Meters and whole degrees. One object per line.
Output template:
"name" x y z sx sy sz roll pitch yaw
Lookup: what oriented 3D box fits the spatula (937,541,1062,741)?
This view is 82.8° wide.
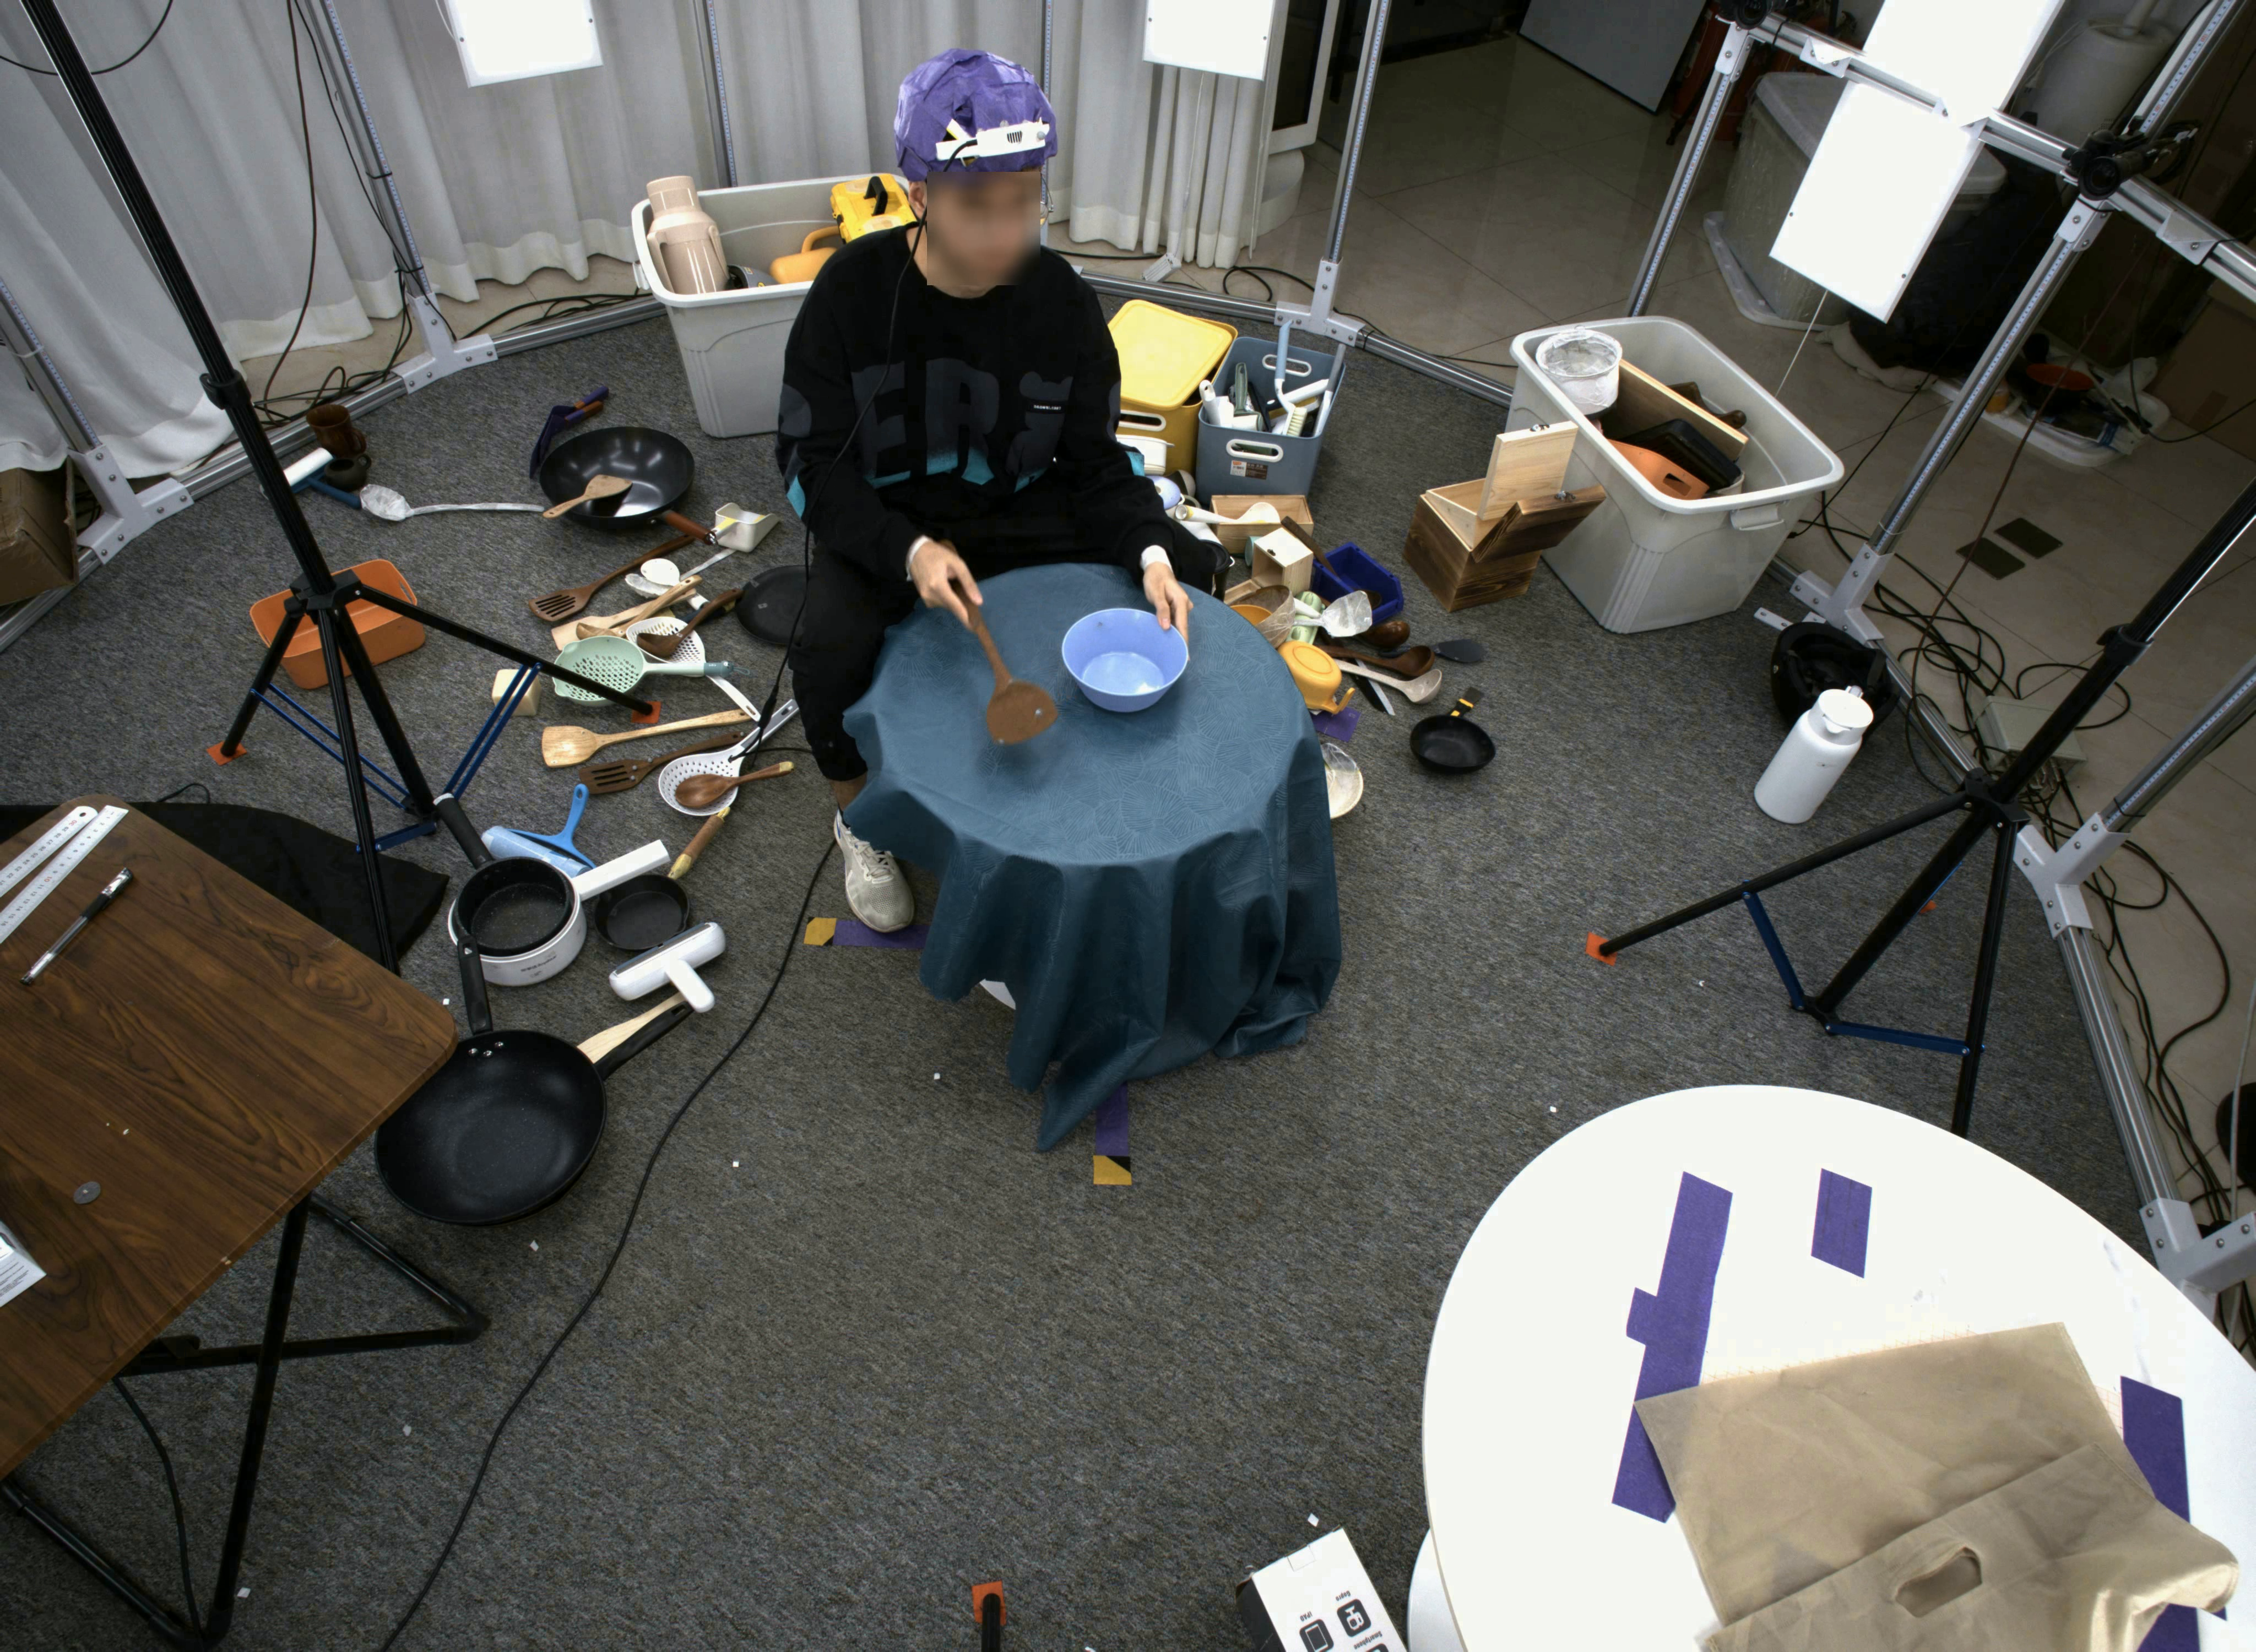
"spatula" -0.197 -0.269 1.792 0.096 0.015 0.394 -25 58 -3

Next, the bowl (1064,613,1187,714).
"bowl" -0.005 -0.223 1.833 0.176 0.068 0.180 2 48 -2
